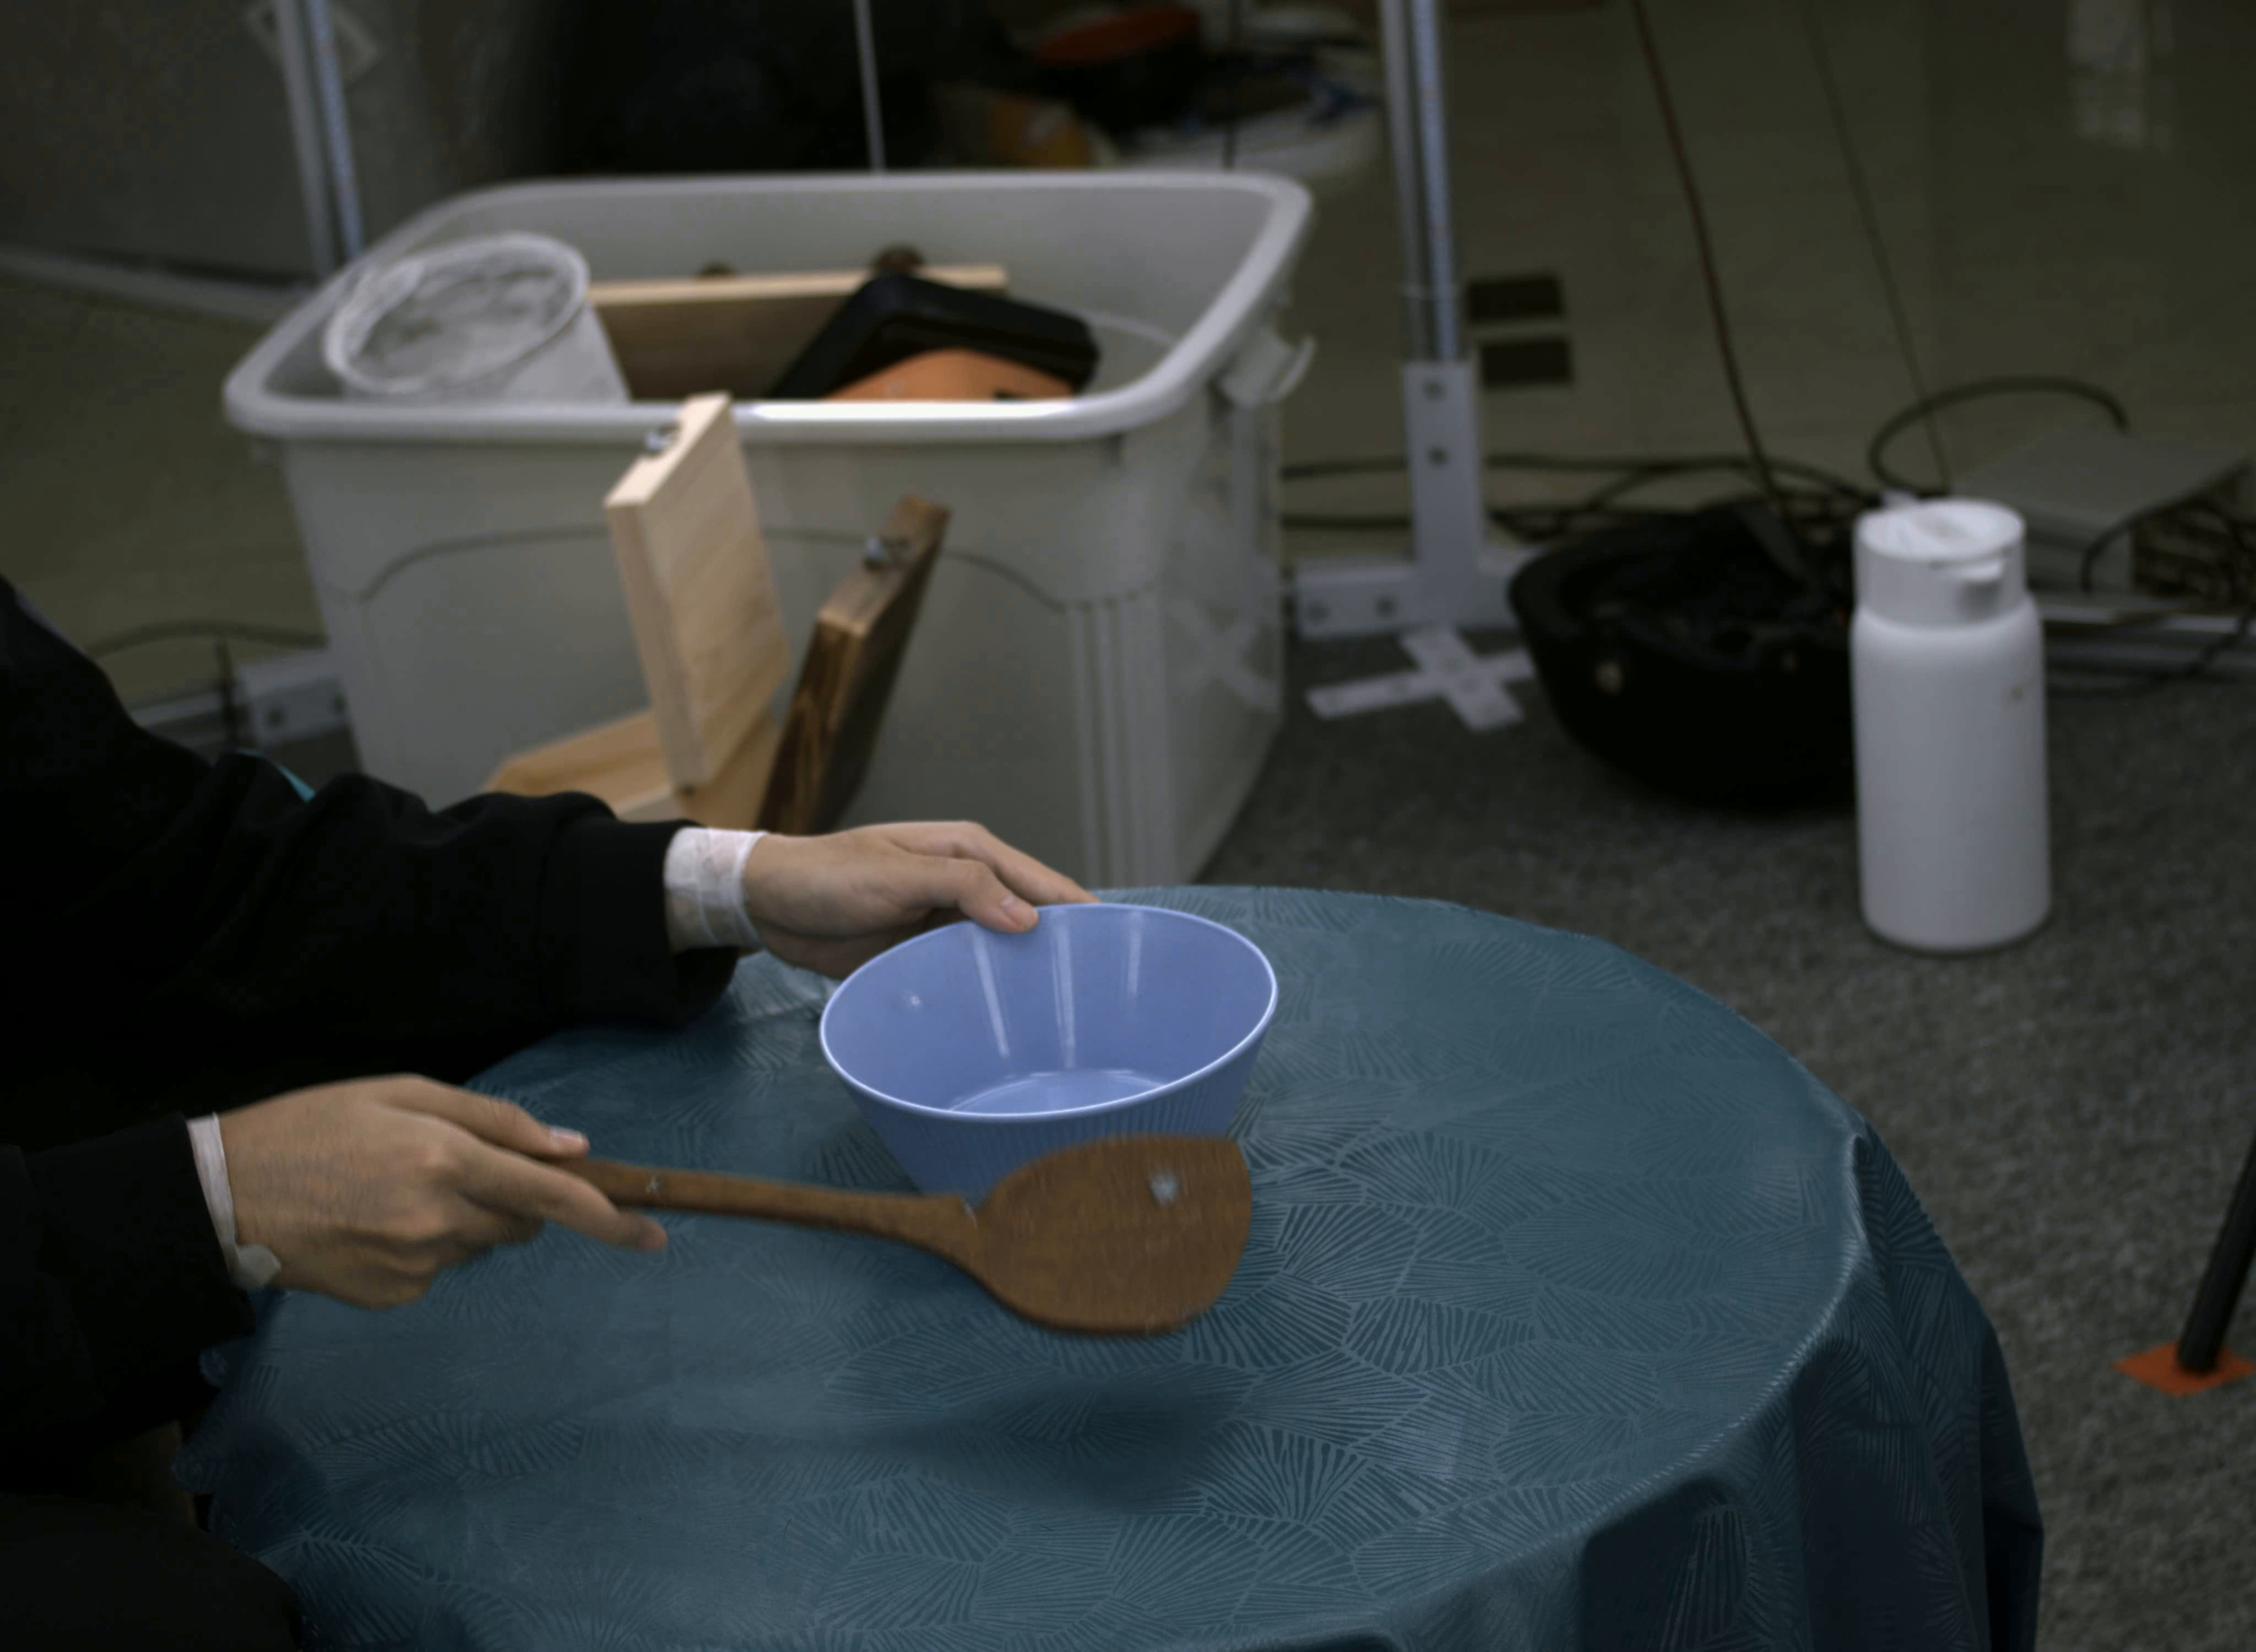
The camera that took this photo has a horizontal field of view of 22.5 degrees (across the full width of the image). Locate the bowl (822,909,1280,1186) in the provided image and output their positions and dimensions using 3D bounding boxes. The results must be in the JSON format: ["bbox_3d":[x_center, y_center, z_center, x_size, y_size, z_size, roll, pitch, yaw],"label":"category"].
[{"bbox_3d":[-0.026,0.099,2.162,0.176,0.071,0.173,-6,25,3],"label":"bowl"}]

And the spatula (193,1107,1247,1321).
[{"bbox_3d":[-0.148,0.126,2.005,0.385,0.016,0.094,5,44,10],"label":"spatula"}]
